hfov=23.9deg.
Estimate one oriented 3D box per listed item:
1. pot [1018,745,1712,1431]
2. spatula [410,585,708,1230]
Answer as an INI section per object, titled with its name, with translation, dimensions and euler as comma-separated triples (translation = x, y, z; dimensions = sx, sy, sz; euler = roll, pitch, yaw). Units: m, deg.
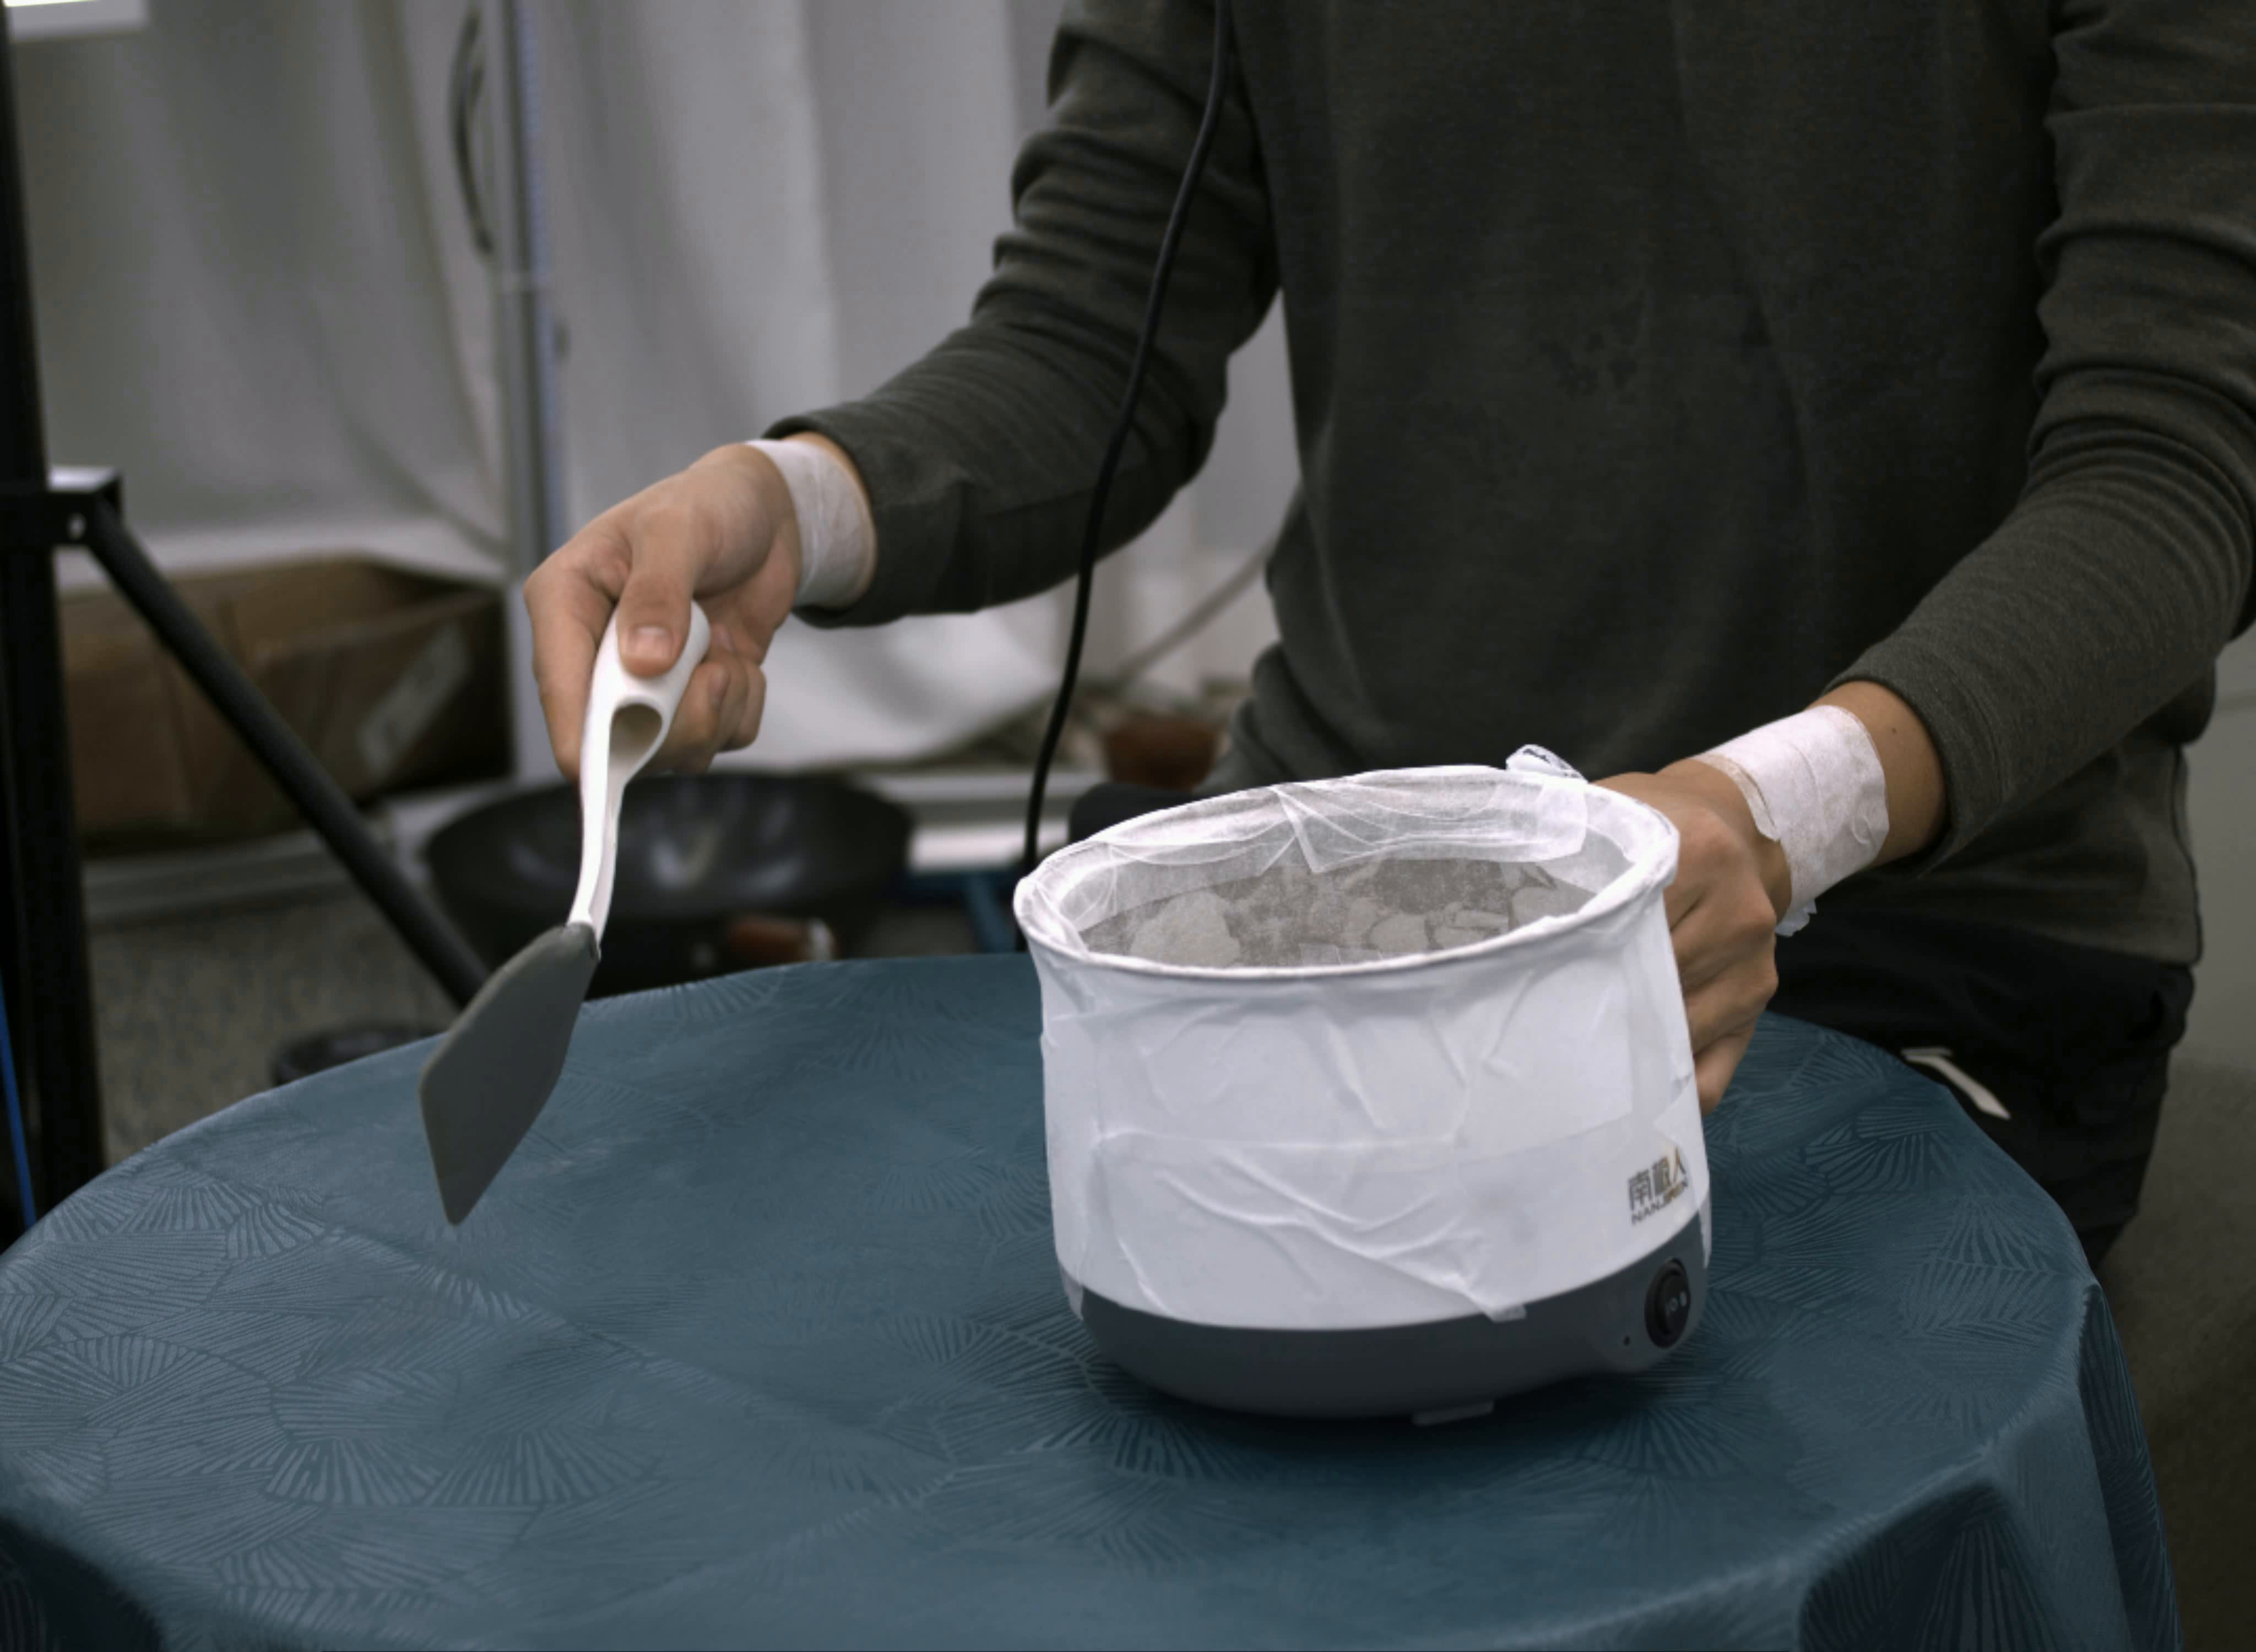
[pot]
translation = 0.080, 0.064, 1.433
dimensions = 0.182, 0.136, 0.229
euler = 5, 19, 34
[spatula]
translation = -0.163, 0.013, 1.554
dimensions = 0.032, 0.058, 0.288
euler = -2, 32, 9
